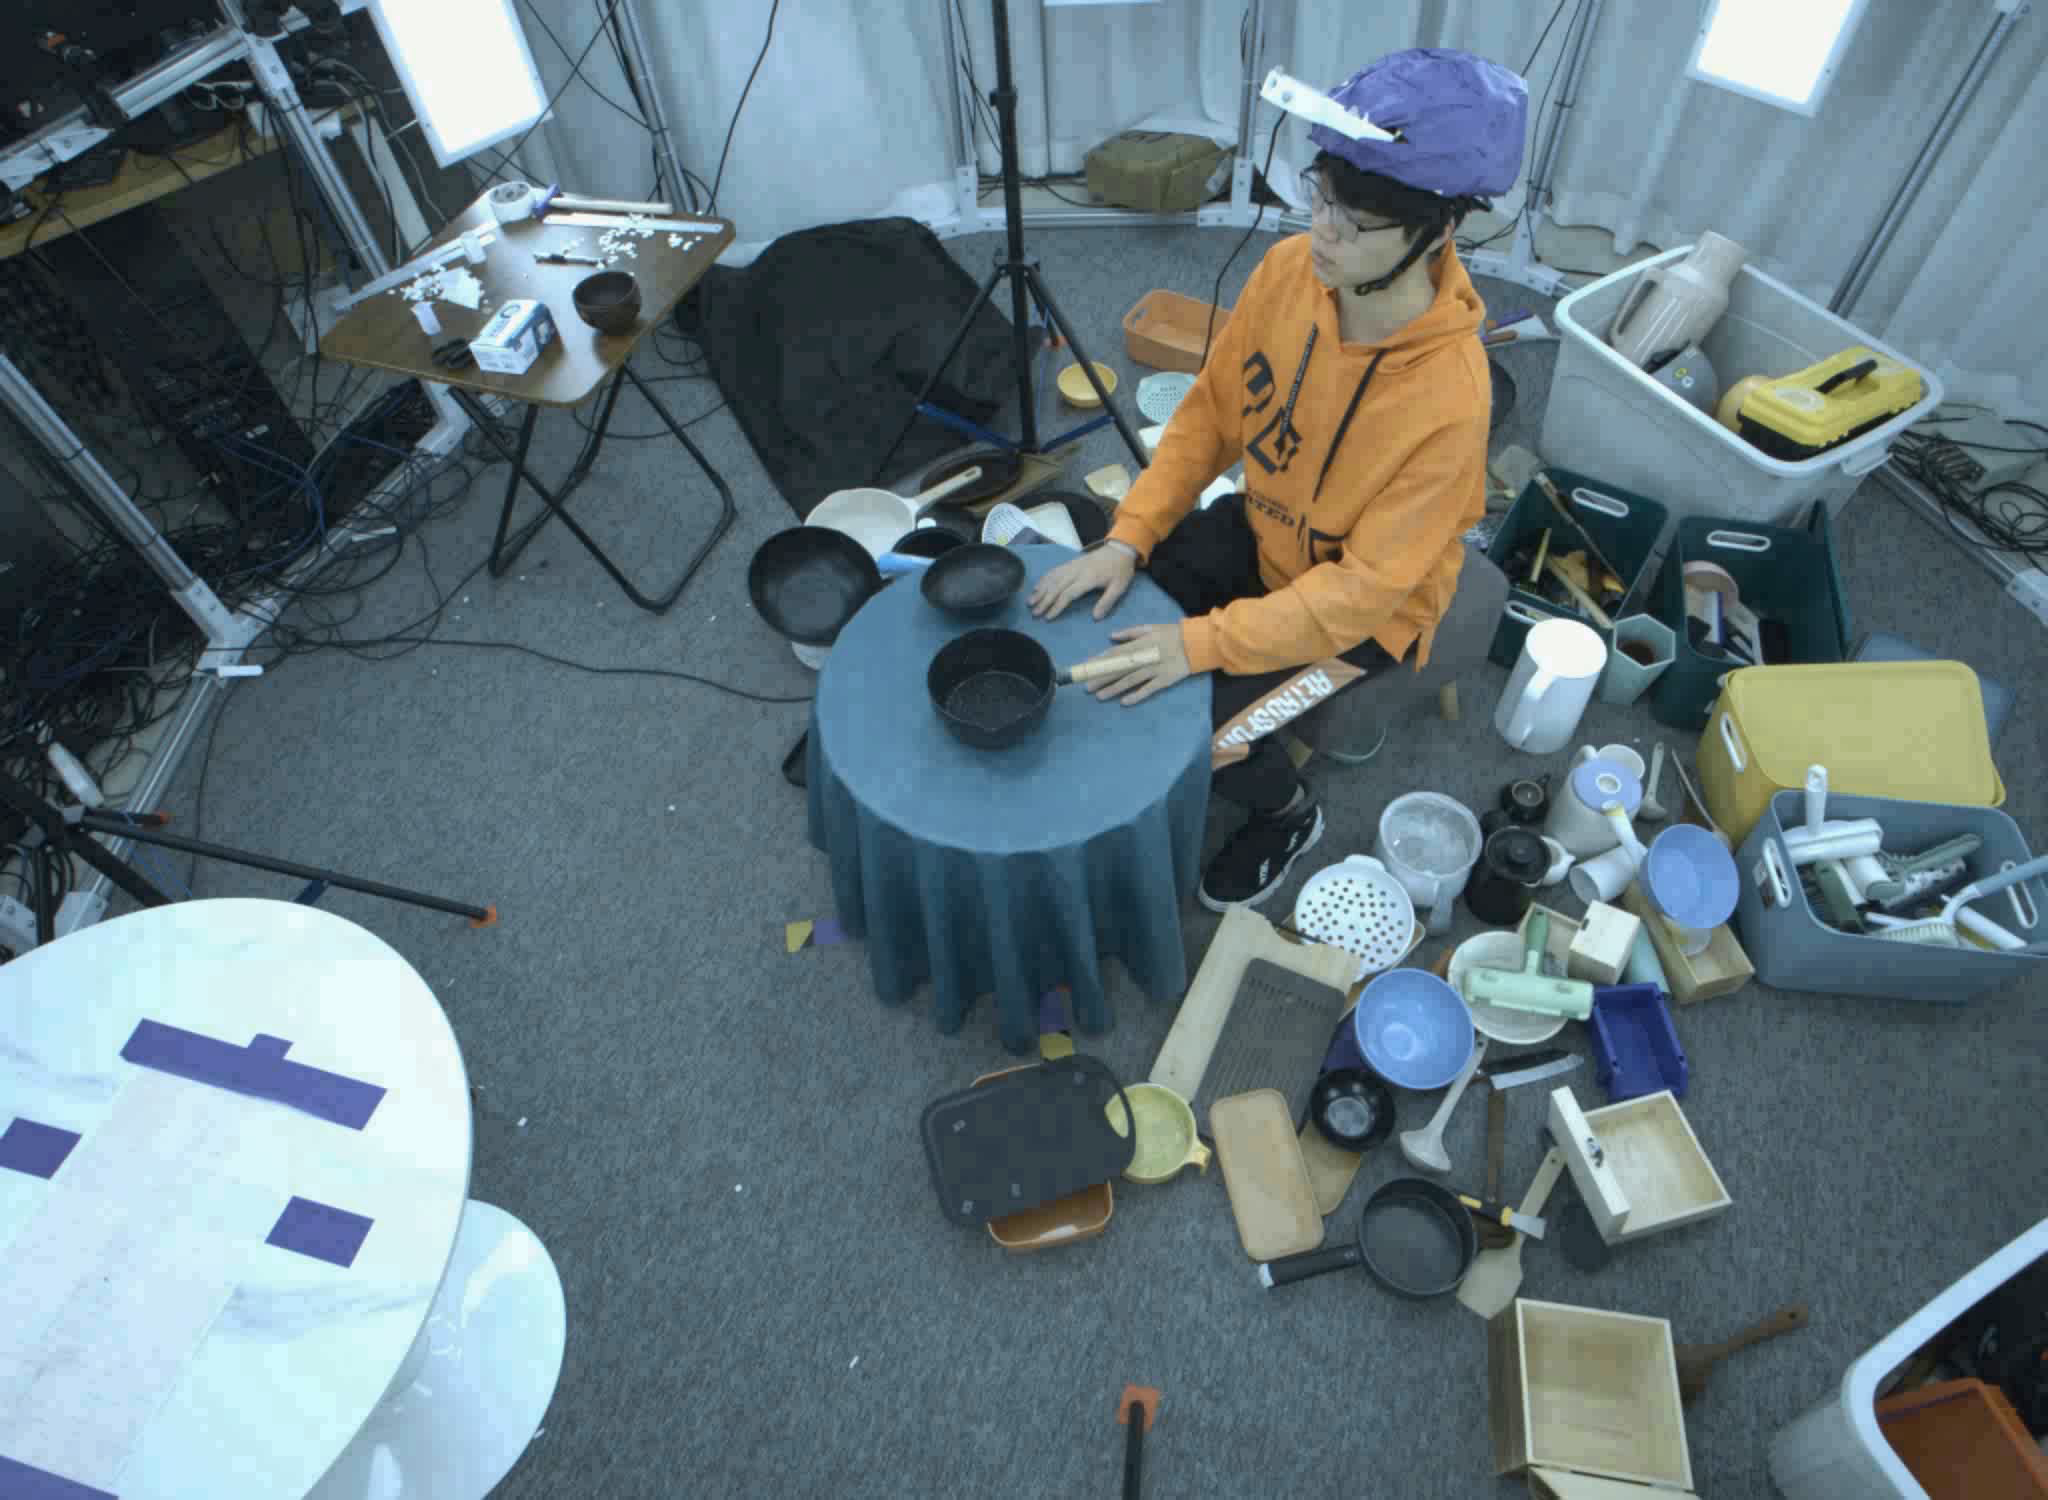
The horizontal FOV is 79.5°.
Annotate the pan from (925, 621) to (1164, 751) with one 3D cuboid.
[{"bbox_3d":[0.031,-0.098,1.789,0.343,0.109,0.205,-6,53,0],"label":"pan"}]

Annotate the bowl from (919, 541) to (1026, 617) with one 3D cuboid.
[{"bbox_3d":[-0.079,-0.257,1.932,0.171,0.067,0.135,-12,55,-3],"label":"bowl"}]
